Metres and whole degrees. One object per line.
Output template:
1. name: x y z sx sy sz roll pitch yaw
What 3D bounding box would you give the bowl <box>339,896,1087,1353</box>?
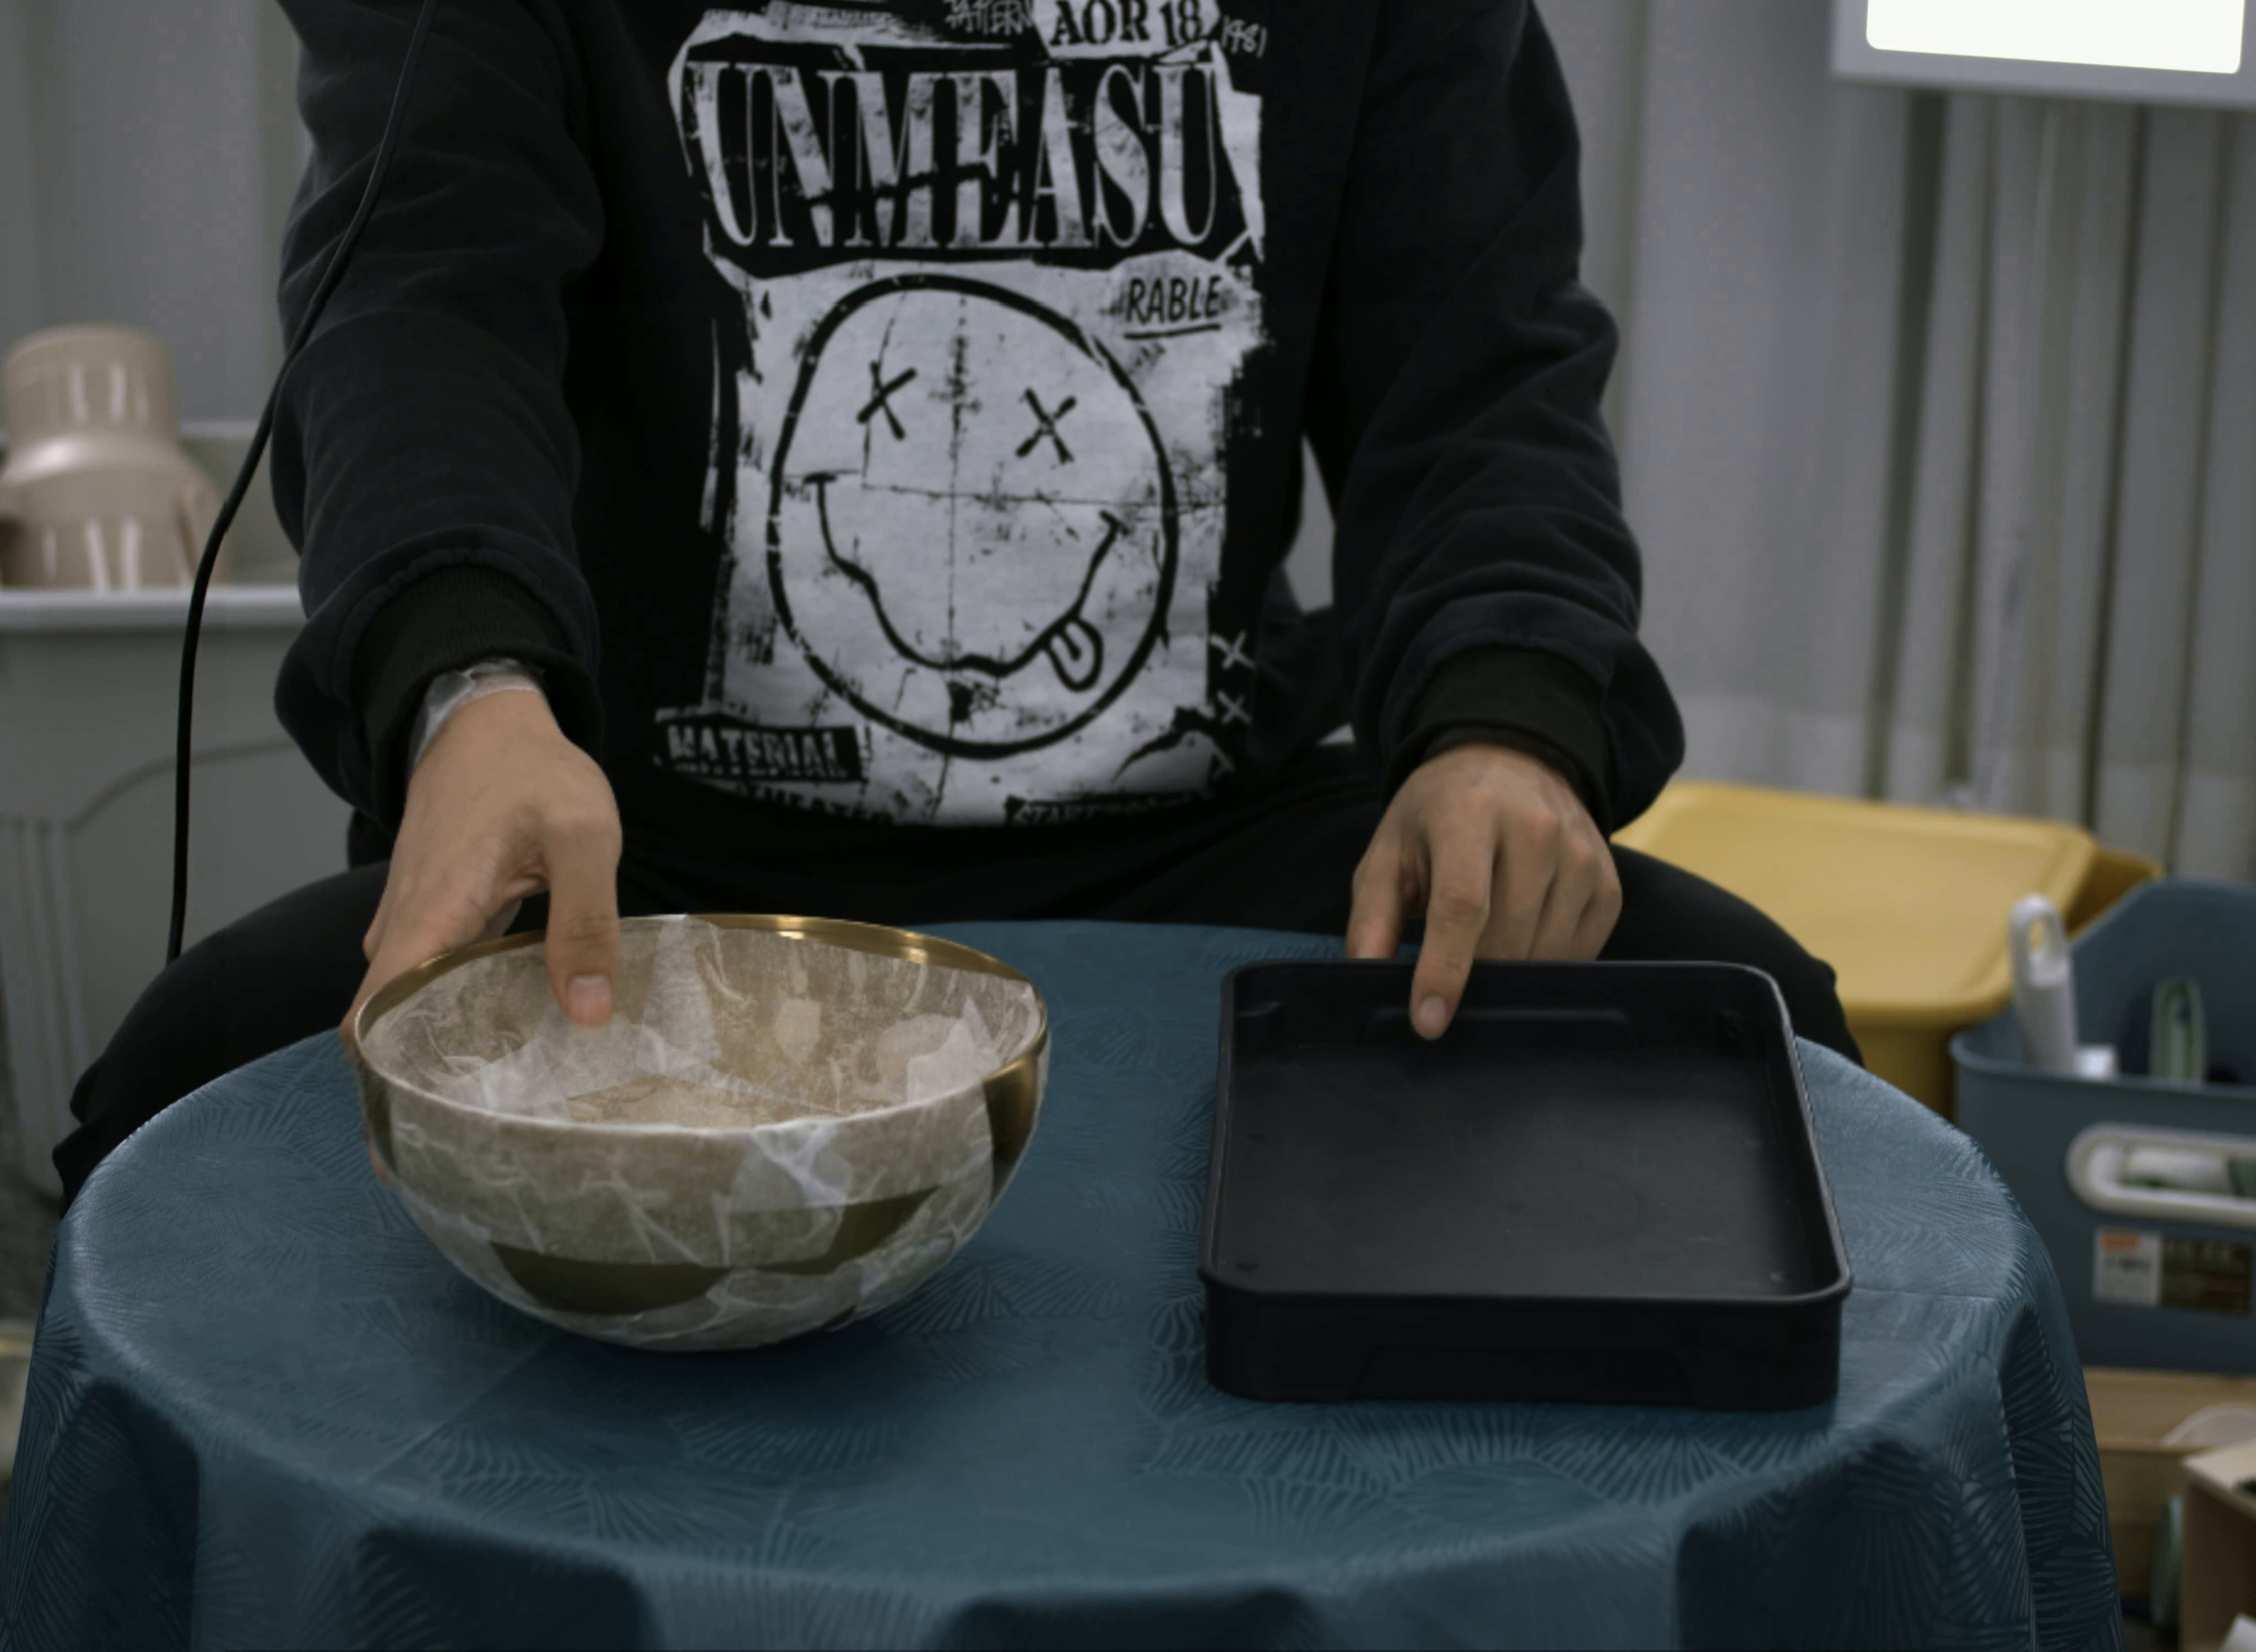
1. bowl: -0.119 0.095 1.514 0.214 0.095 0.213 0 17 1

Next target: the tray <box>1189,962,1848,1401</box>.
1. tray: 0.116 0.102 1.598 0.183 0.037 0.316 0 15 3
